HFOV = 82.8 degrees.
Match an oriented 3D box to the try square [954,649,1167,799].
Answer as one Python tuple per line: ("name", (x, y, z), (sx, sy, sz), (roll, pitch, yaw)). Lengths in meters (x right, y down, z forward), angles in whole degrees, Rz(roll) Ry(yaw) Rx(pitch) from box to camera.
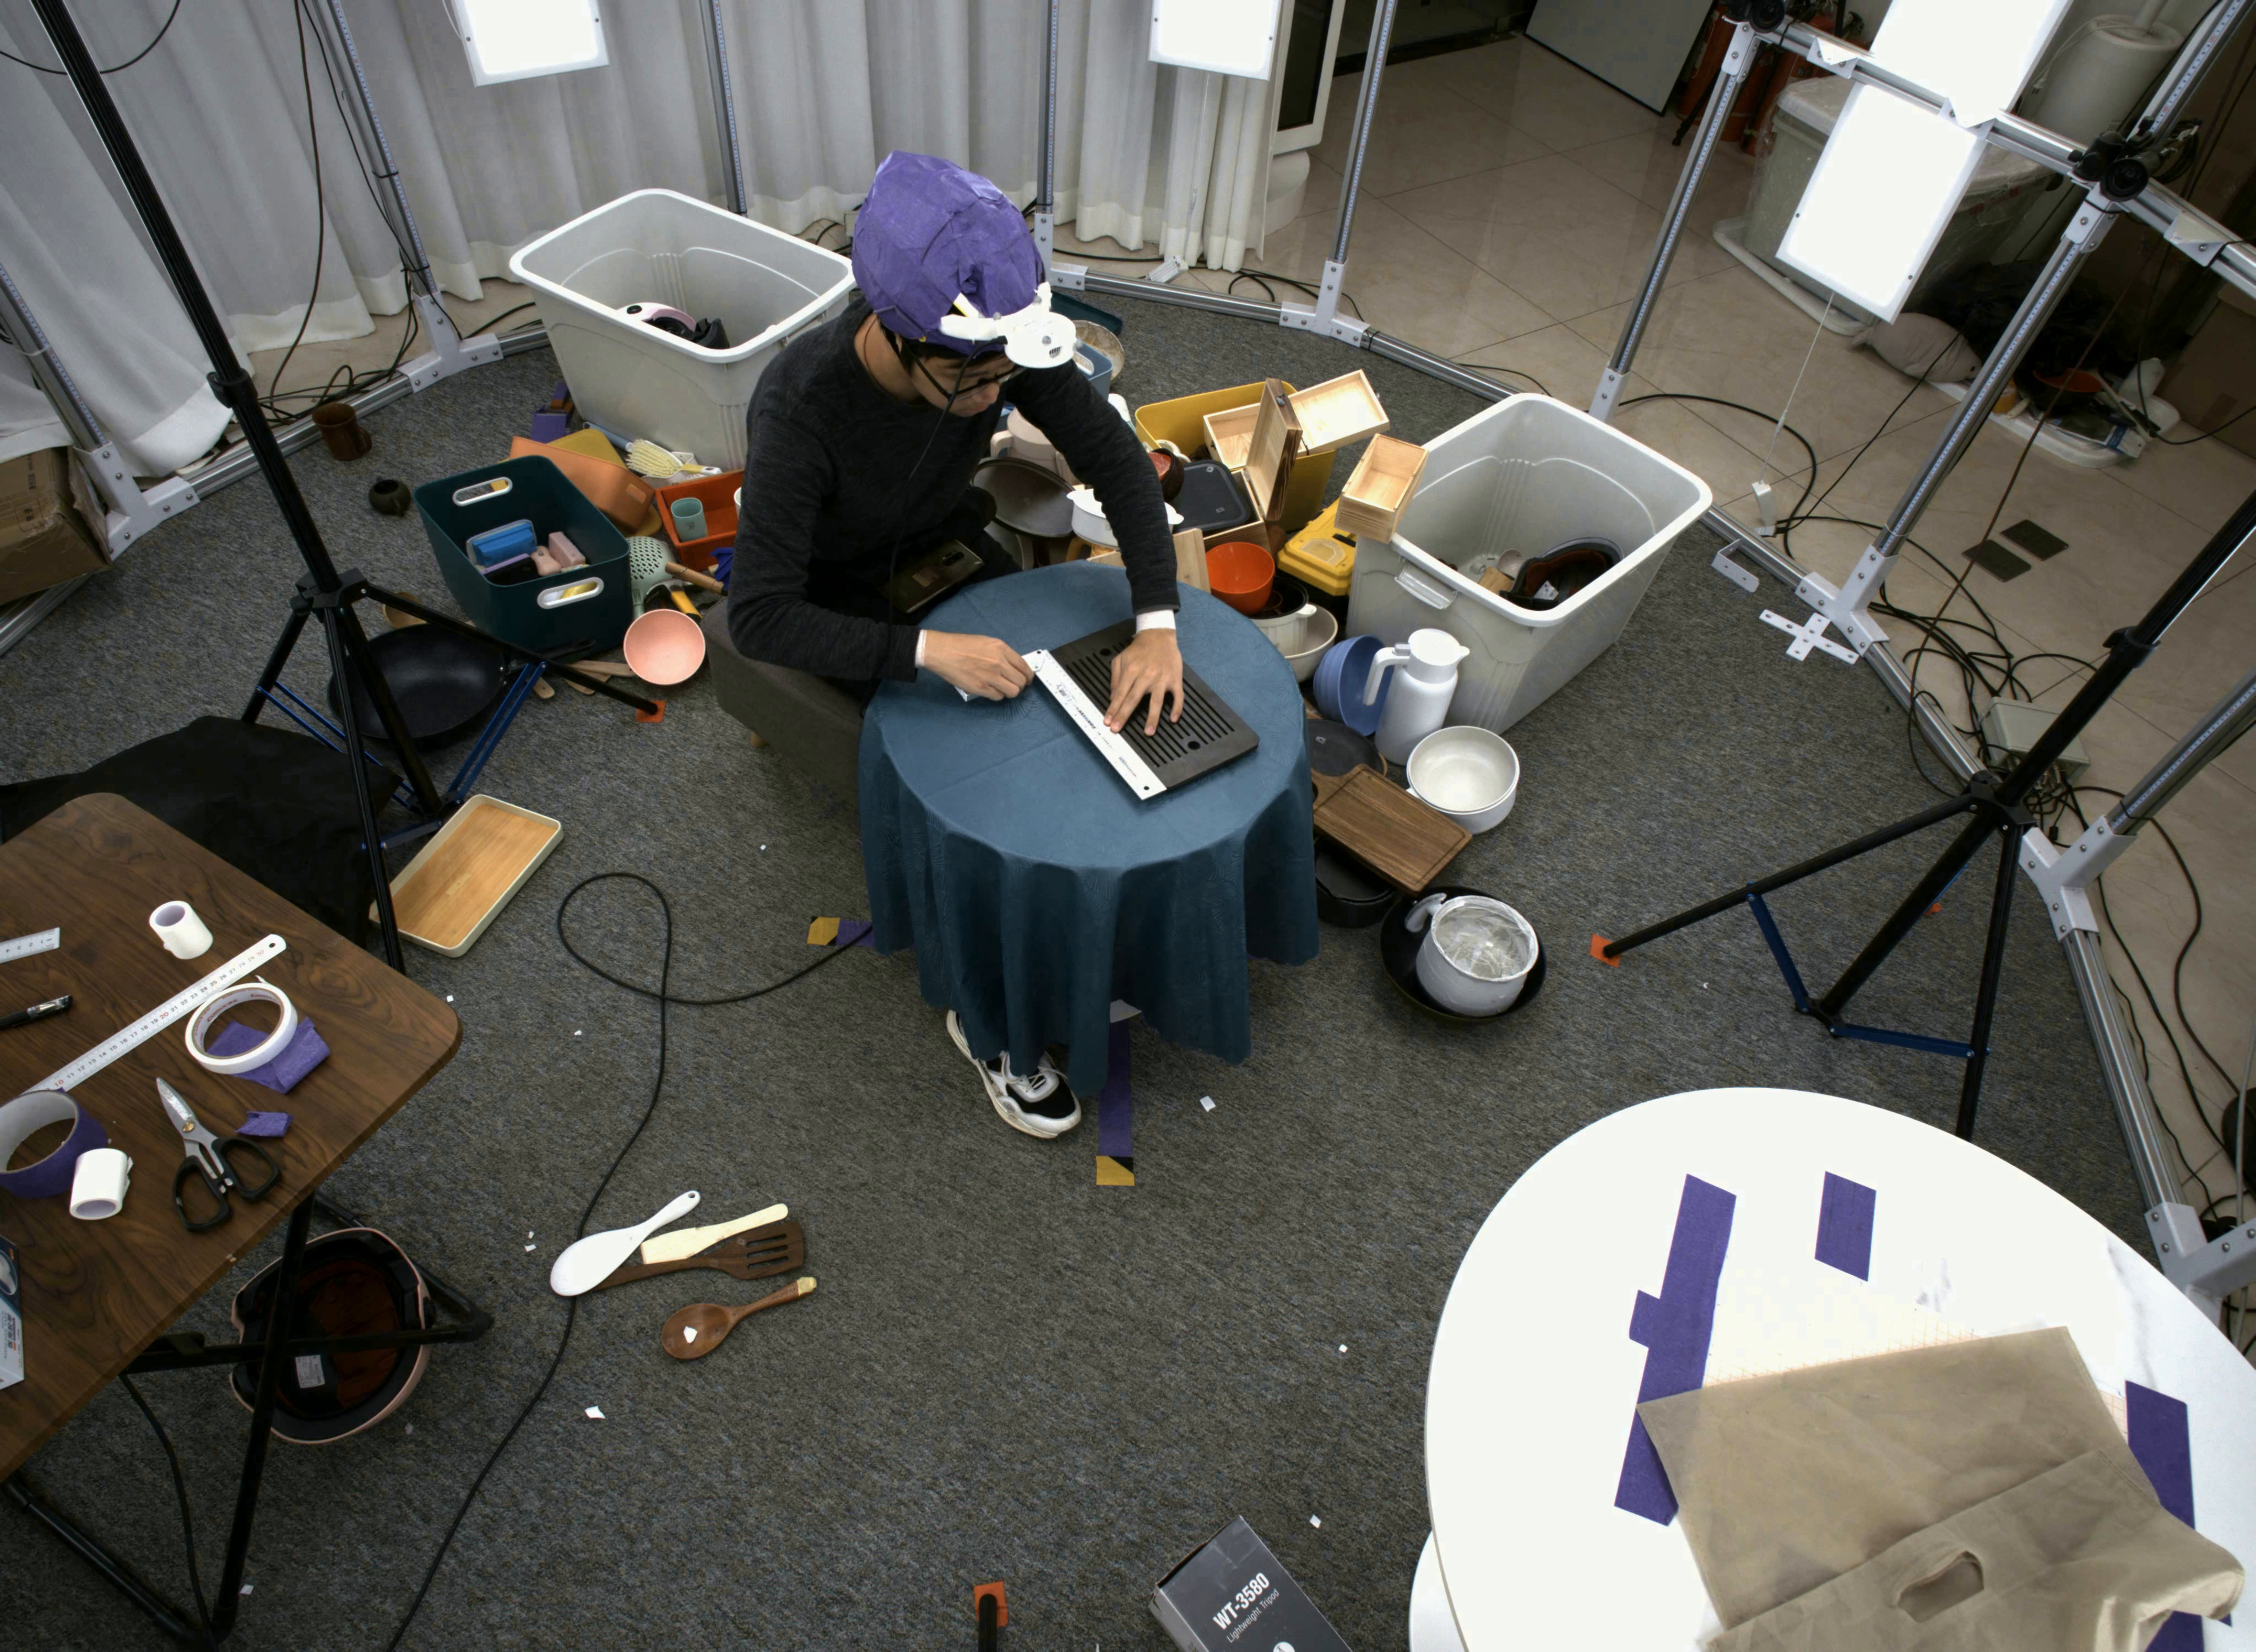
("try square", (-0.096, -0.127, 1.747), (0.153, 0.015, 0.319), (-22, 54, -25))

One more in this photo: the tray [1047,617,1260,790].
("tray", (0.033, -0.178, 1.815), (0.171, 0.018, 0.312), (-26, 55, -23))
